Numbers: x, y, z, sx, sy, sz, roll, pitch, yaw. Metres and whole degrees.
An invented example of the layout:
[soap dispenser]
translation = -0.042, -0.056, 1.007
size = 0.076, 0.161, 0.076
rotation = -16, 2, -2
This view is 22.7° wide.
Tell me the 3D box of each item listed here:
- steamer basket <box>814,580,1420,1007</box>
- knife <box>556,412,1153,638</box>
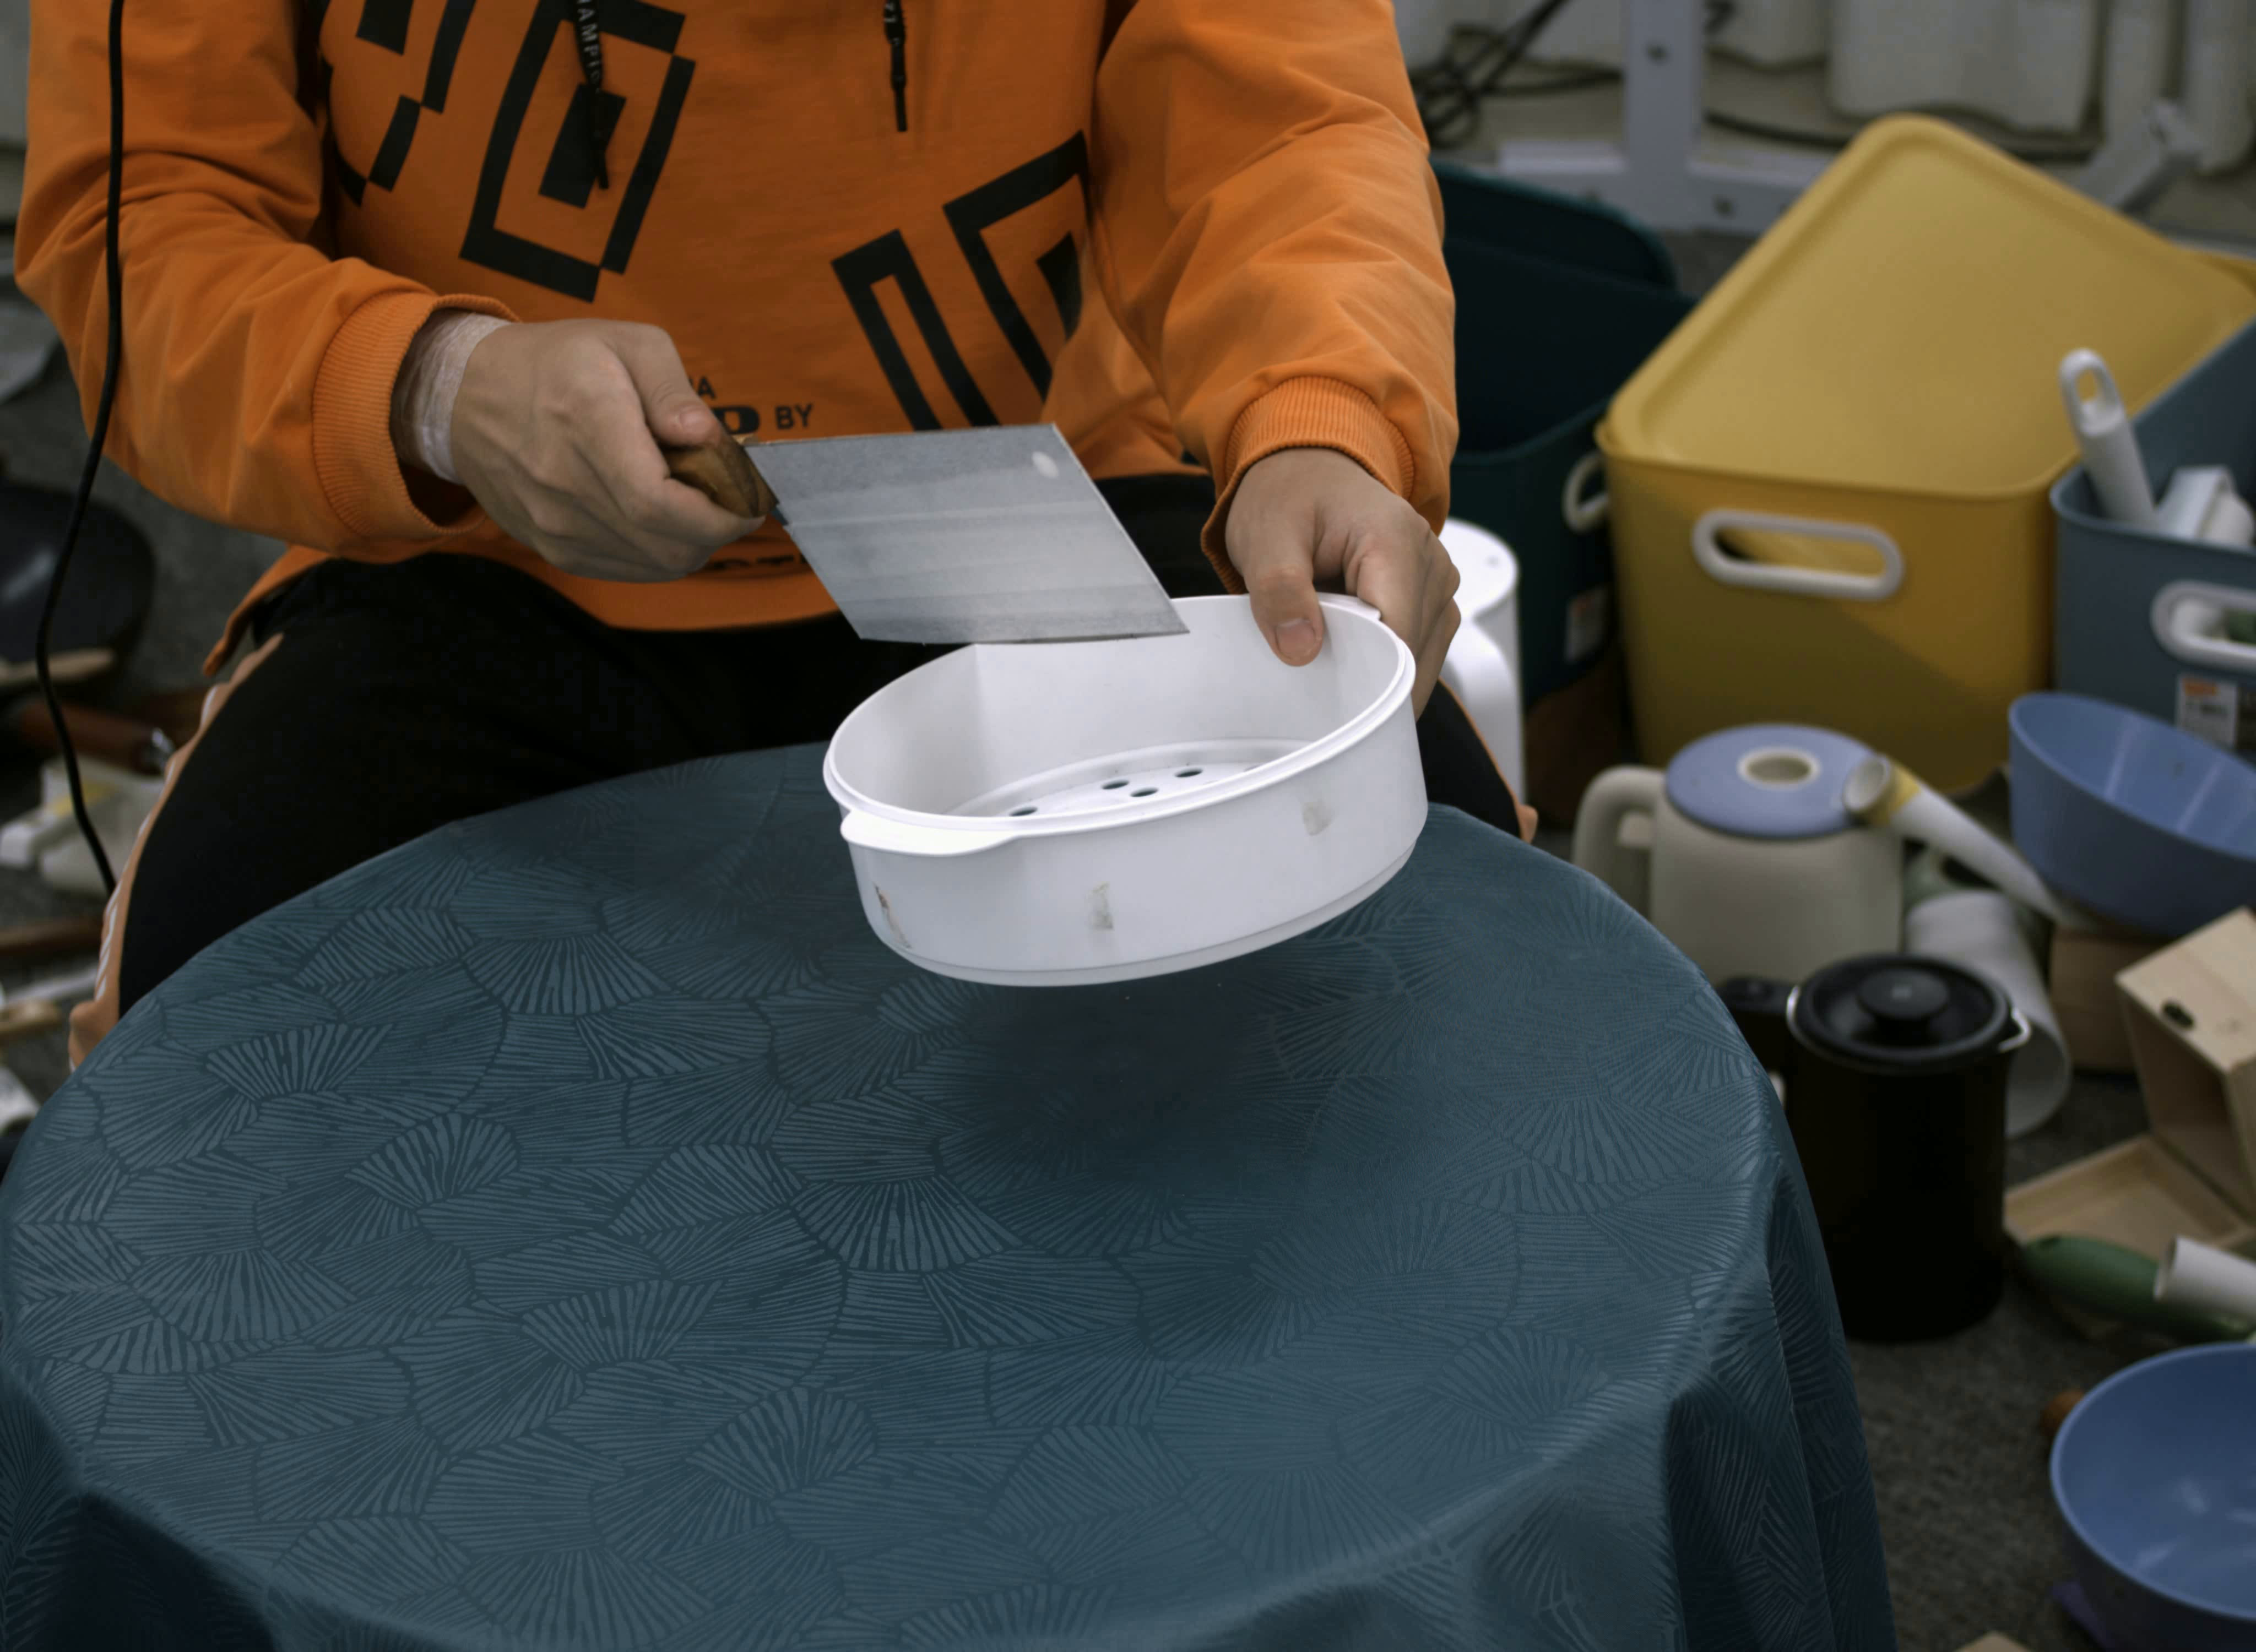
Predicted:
[steamer basket]
translation = -0.001, -0.010, 1.879
size = 0.200, 0.068, 0.234
rotation = 8, 31, 39
[knife]
translation = -0.095, -0.102, 1.957
size = 0.303, 0.092, 0.021
rotation = 1, 41, 52
